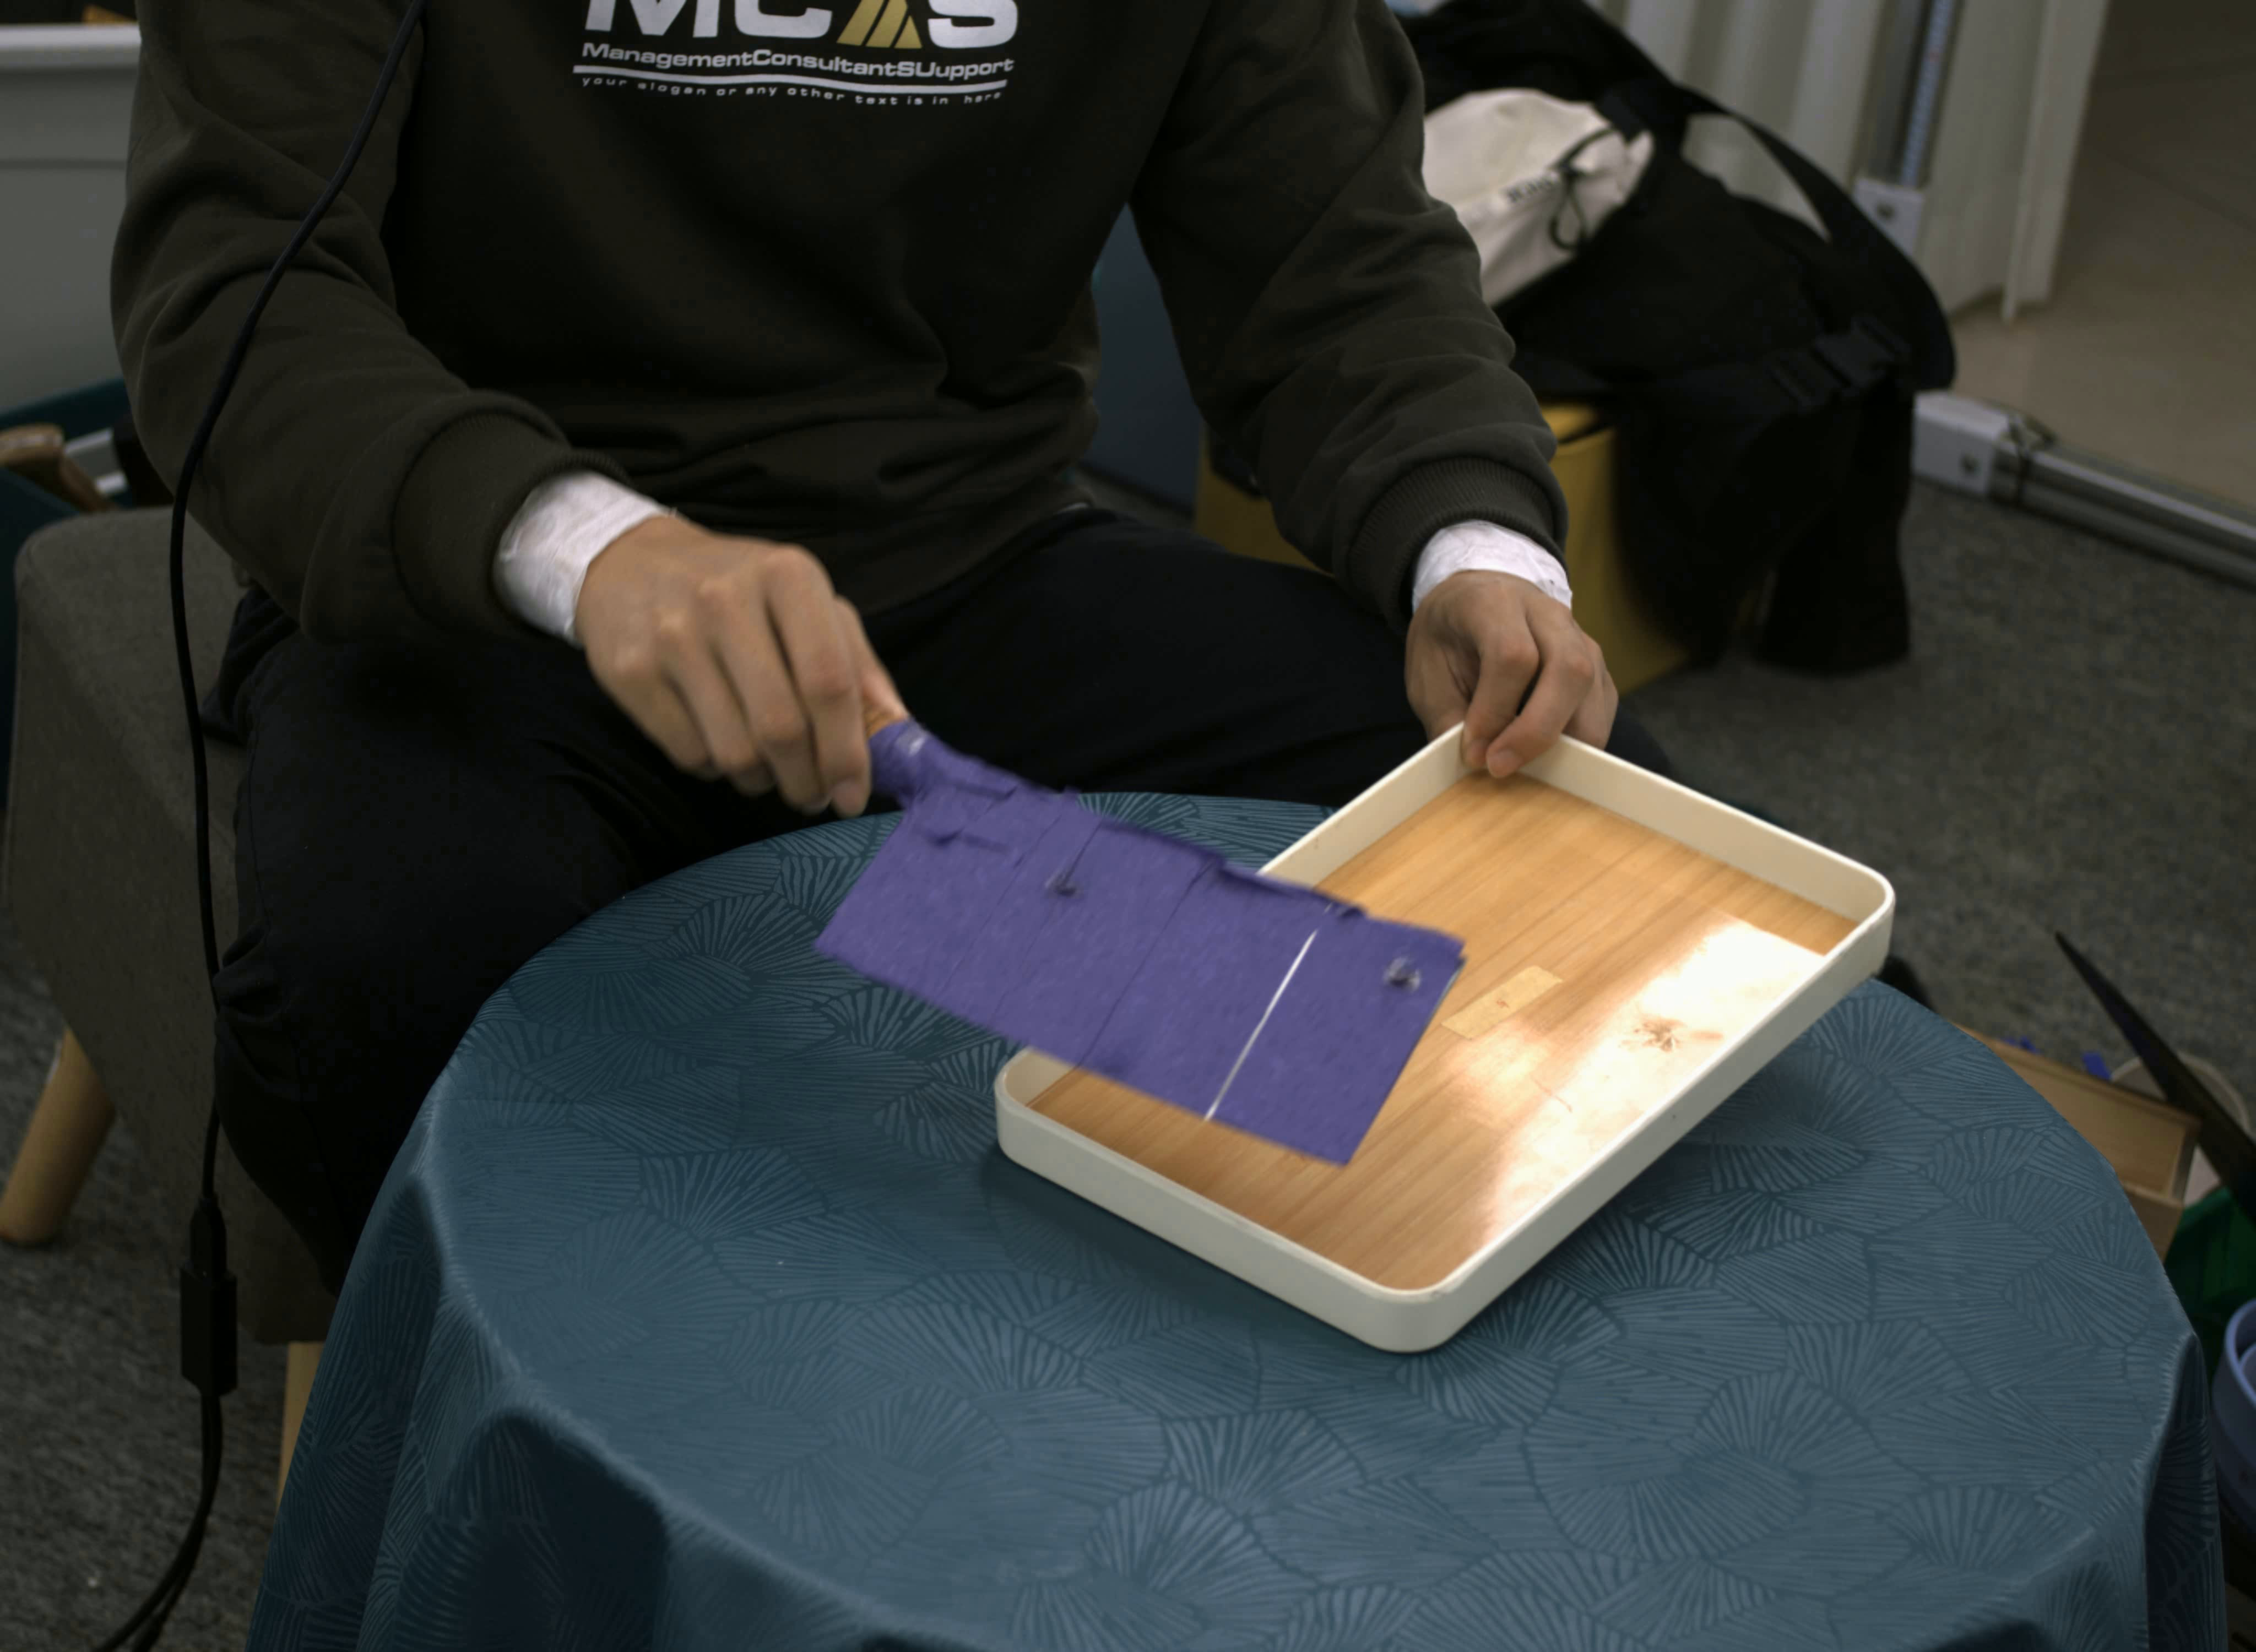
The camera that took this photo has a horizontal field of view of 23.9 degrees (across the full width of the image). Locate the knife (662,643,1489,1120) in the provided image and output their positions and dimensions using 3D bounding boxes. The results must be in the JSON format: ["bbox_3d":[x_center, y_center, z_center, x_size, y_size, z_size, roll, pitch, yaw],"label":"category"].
[{"bbox_3d":[-0.038,0.017,1.782,0.317,0.032,0.104,19,60,26],"label":"knife"}]

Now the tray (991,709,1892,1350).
[{"bbox_3d":[0.112,0.064,1.858,0.193,0.027,0.300,24,43,32],"label":"tray"}]
